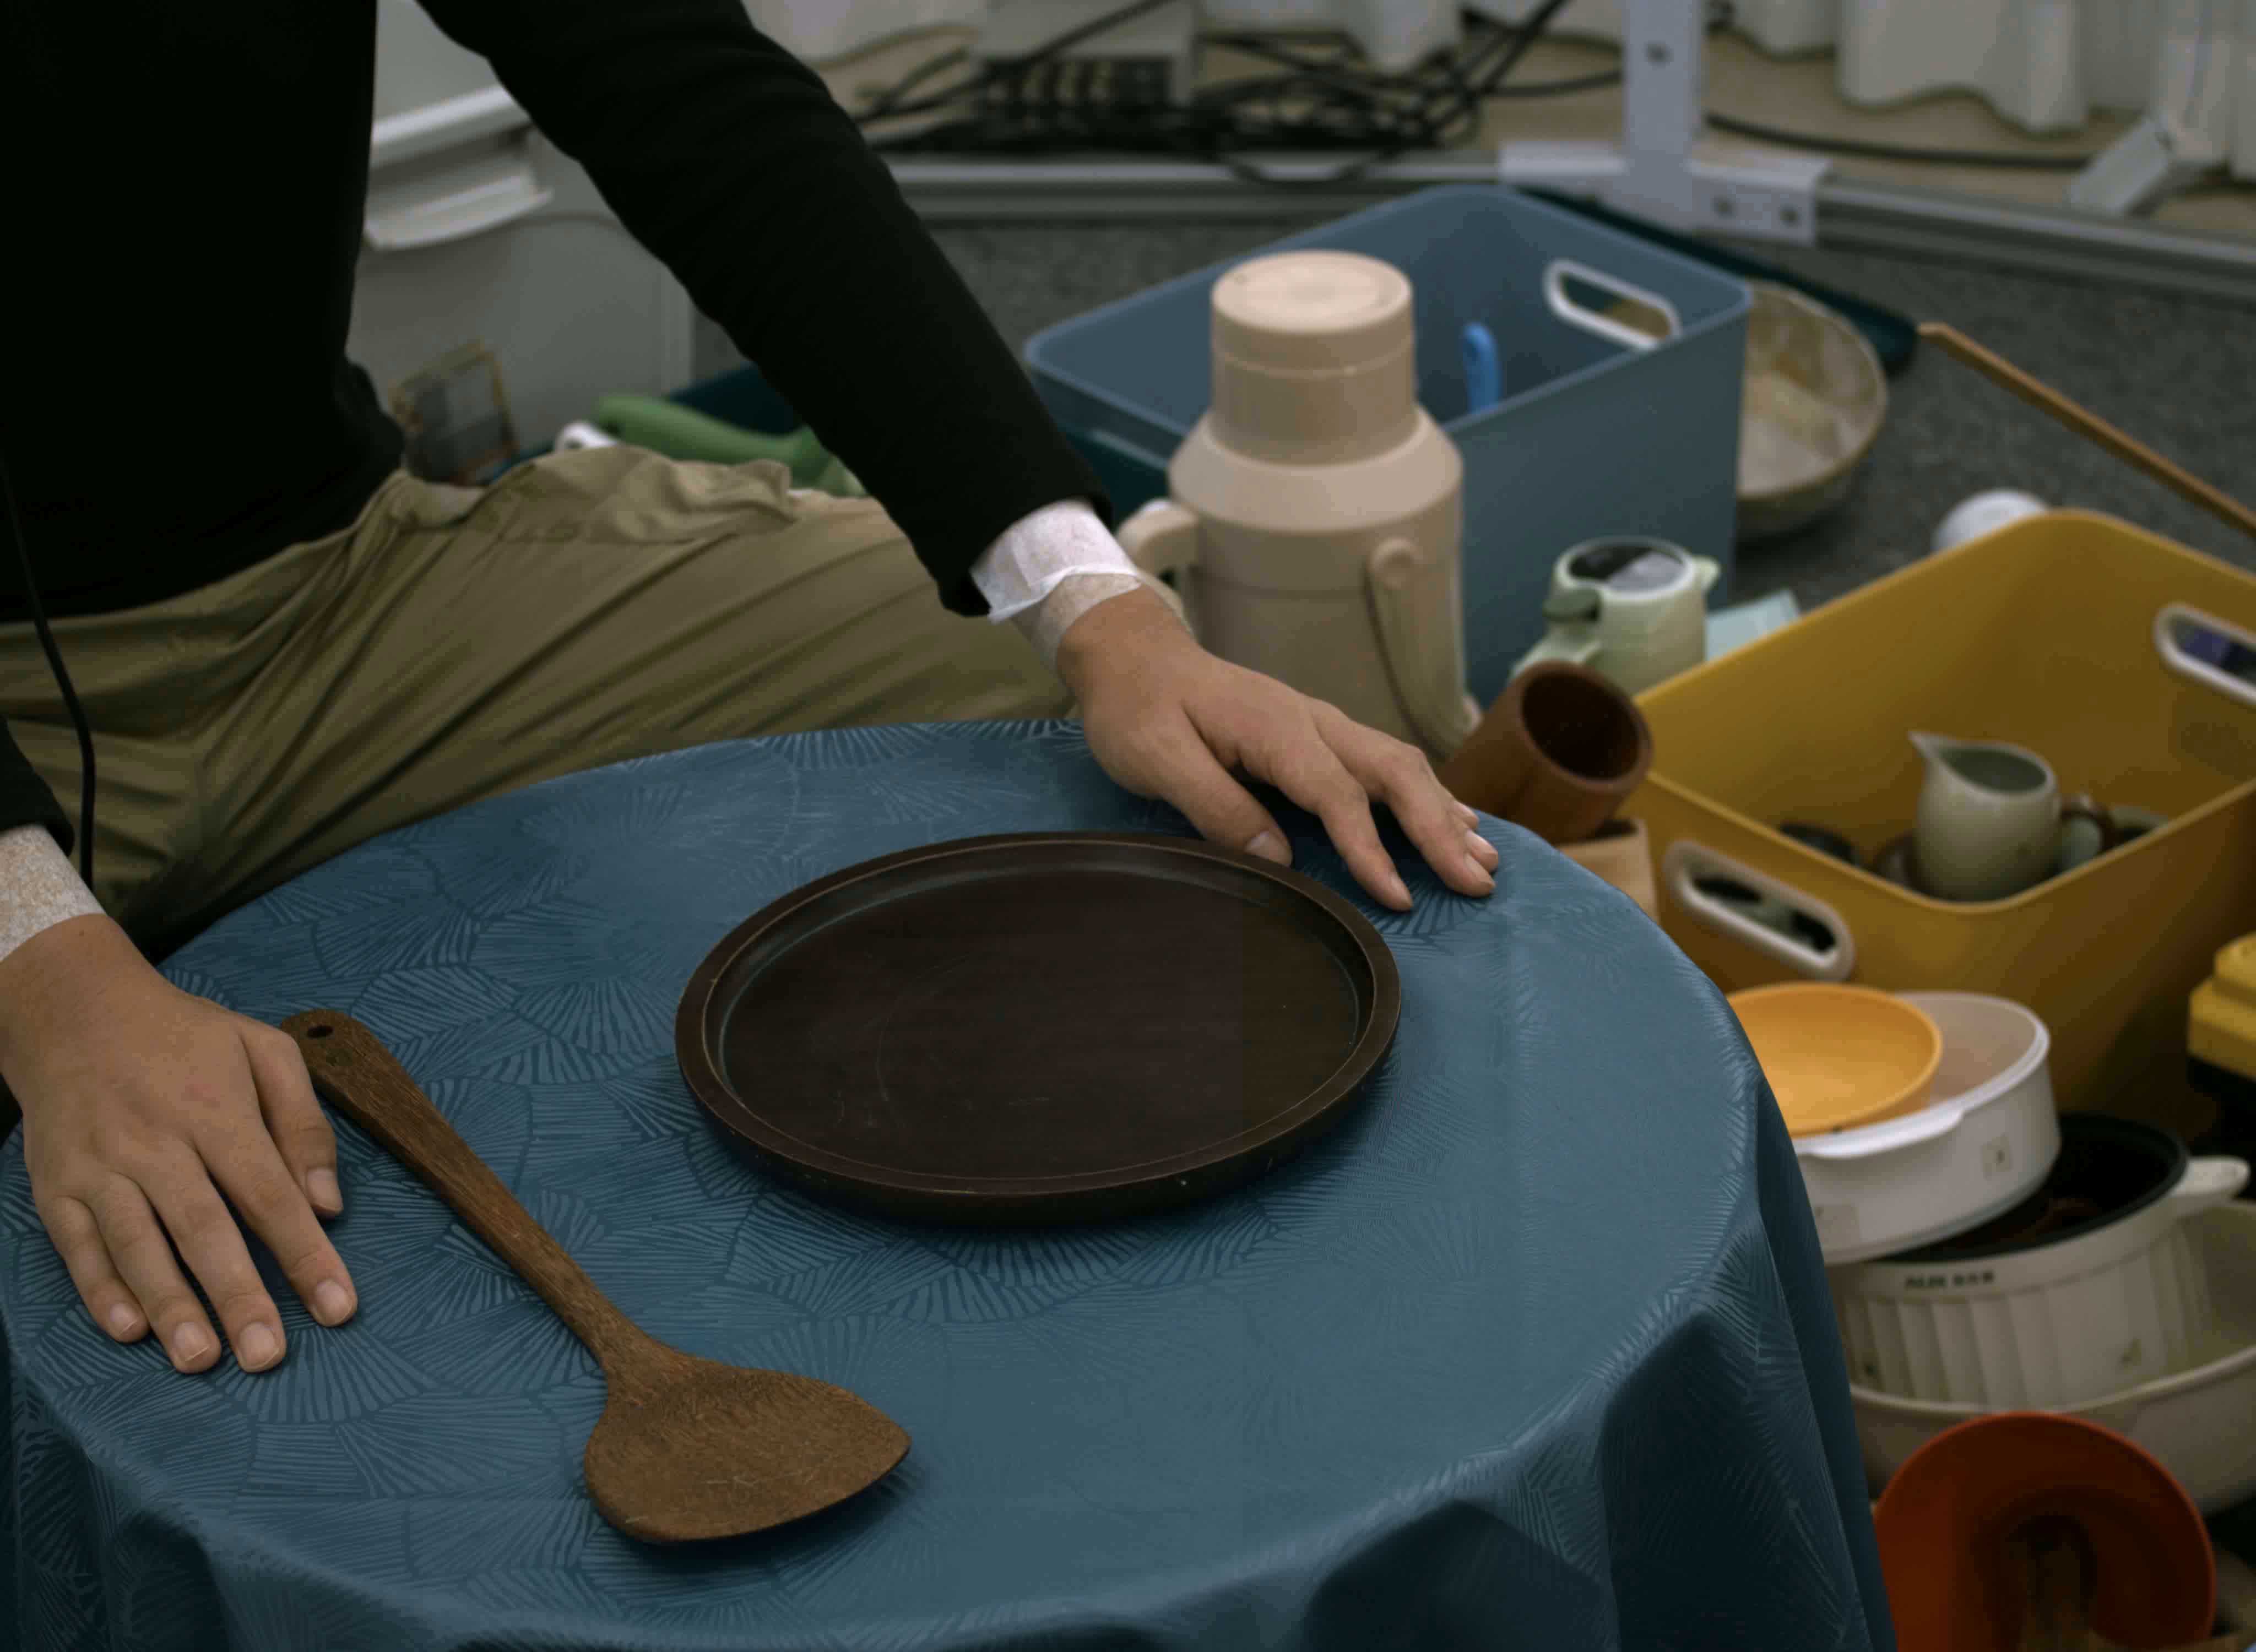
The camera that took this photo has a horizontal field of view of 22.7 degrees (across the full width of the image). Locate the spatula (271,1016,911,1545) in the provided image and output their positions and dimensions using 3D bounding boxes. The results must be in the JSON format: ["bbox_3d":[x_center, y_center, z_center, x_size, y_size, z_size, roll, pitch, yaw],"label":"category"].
[{"bbox_3d":[-0.196,0.139,1.832,0.097,0.015,0.387,-17,30,-26],"label":"spatula"}]

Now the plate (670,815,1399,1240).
[{"bbox_3d":[-0.032,0.070,1.940,0.253,0.029,0.259,-2,29,2],"label":"plate"}]
